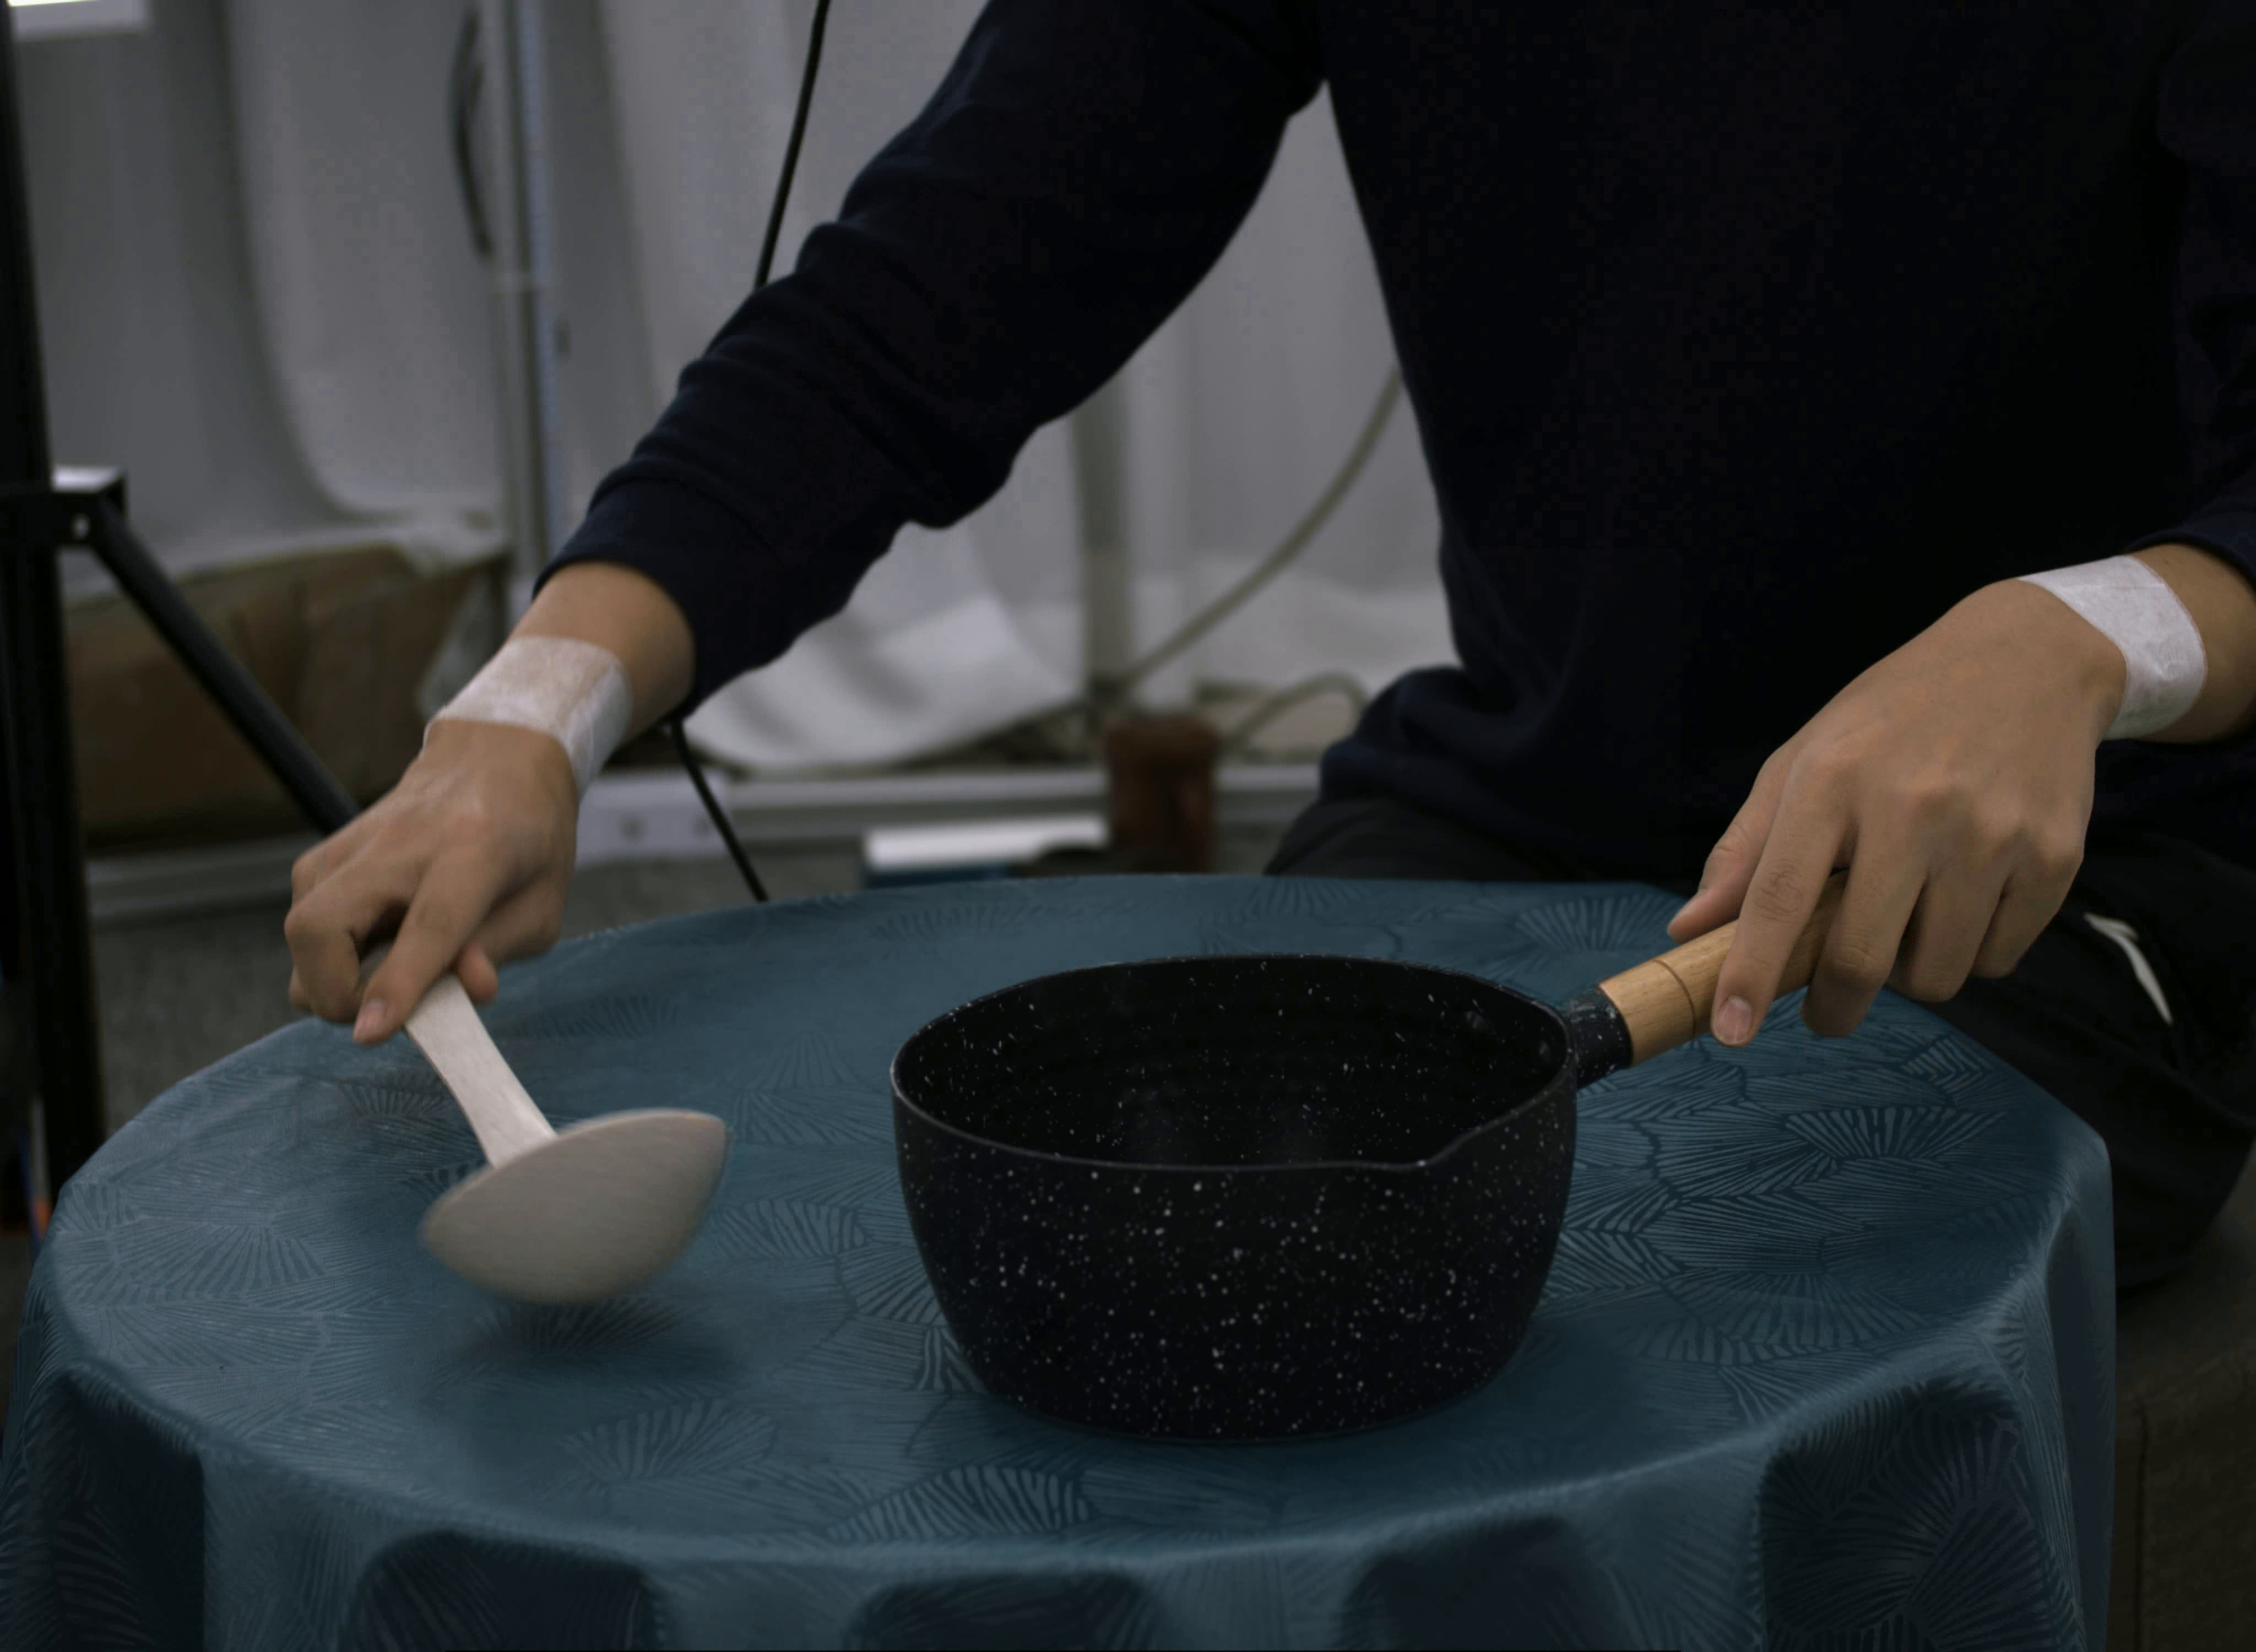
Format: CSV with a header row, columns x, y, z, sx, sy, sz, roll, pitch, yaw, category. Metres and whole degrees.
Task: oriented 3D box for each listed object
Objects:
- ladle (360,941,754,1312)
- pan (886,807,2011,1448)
x,y,z,sx,sy,sz,roll,pitch,yaw,category
-0.186,0.061,1.557,0.088,0.069,0.280,-14,27,-17,ladle
0.099,0.077,1.454,0.336,0.108,0.212,-12,17,-25,pan
